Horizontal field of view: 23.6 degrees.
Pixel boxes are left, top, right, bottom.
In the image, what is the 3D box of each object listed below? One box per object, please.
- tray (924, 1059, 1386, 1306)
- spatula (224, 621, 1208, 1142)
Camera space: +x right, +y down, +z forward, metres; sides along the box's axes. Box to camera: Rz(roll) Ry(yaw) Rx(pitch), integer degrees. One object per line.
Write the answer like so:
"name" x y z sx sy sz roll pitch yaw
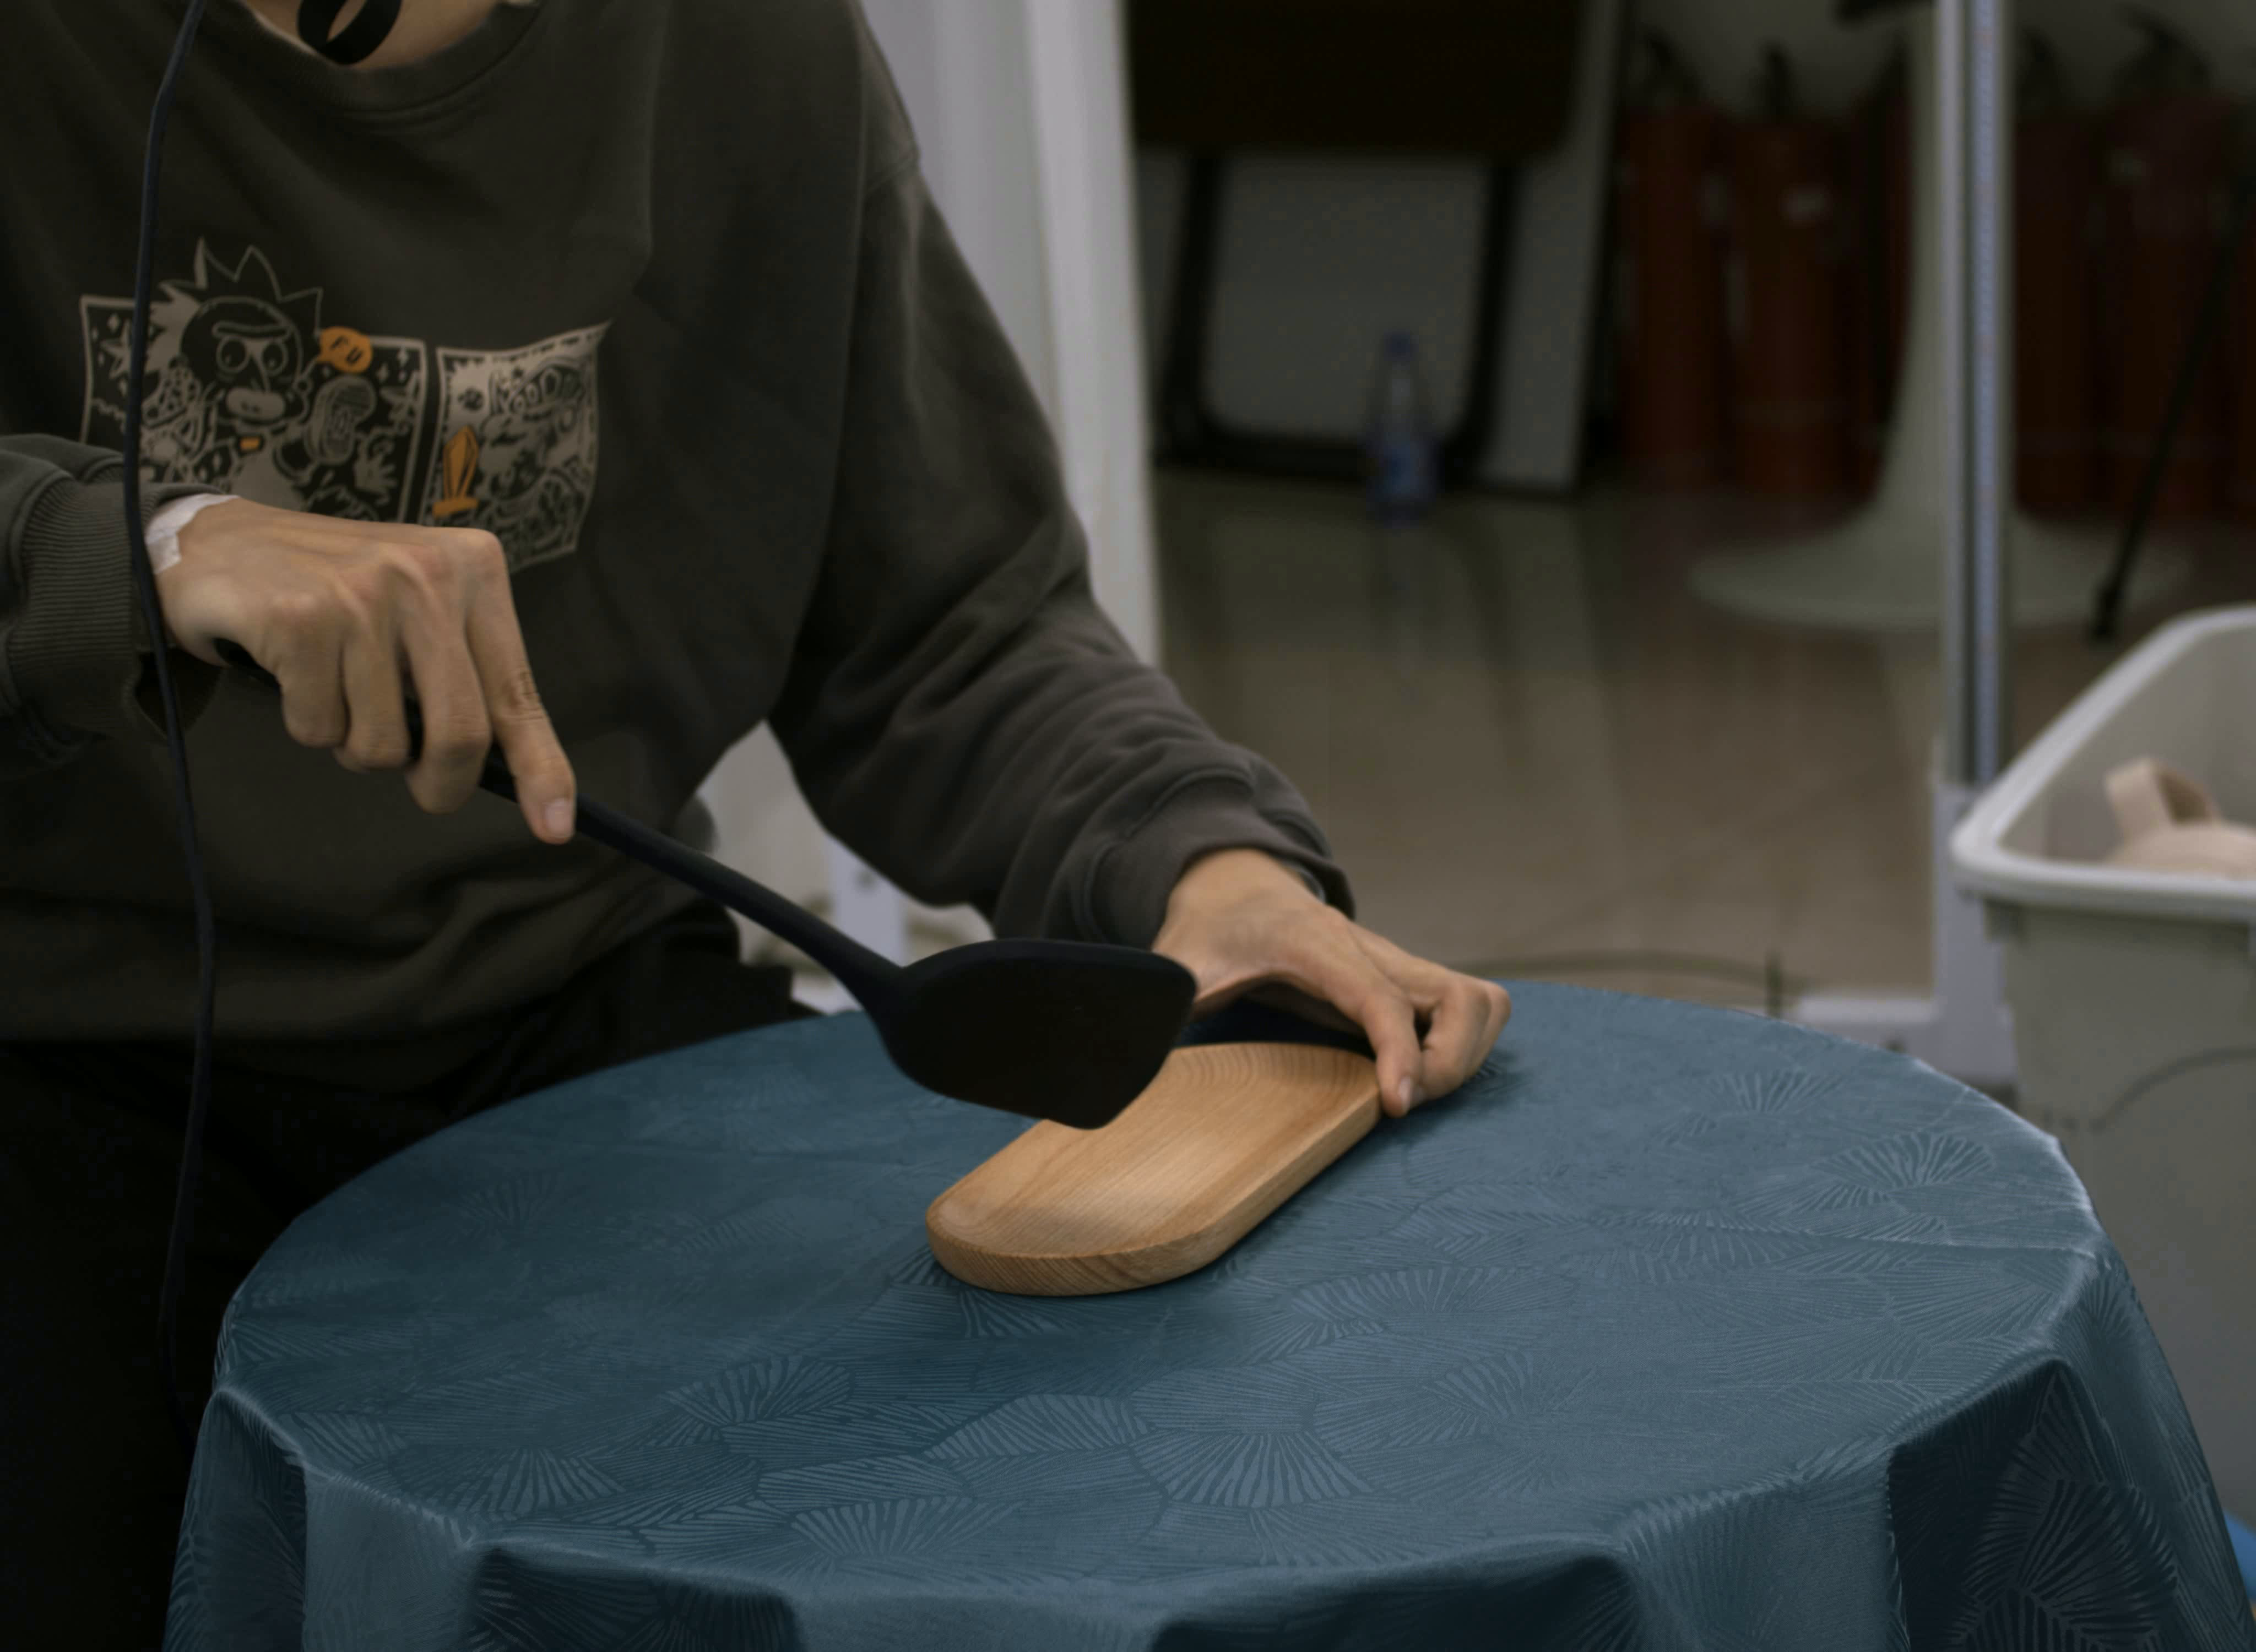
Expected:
"tray" 0.012 0.115 1.768 0.102 0.020 0.228 1 15 25
"spatula" -0.132 0.008 1.682 0.324 0.100 0.040 29 46 1
